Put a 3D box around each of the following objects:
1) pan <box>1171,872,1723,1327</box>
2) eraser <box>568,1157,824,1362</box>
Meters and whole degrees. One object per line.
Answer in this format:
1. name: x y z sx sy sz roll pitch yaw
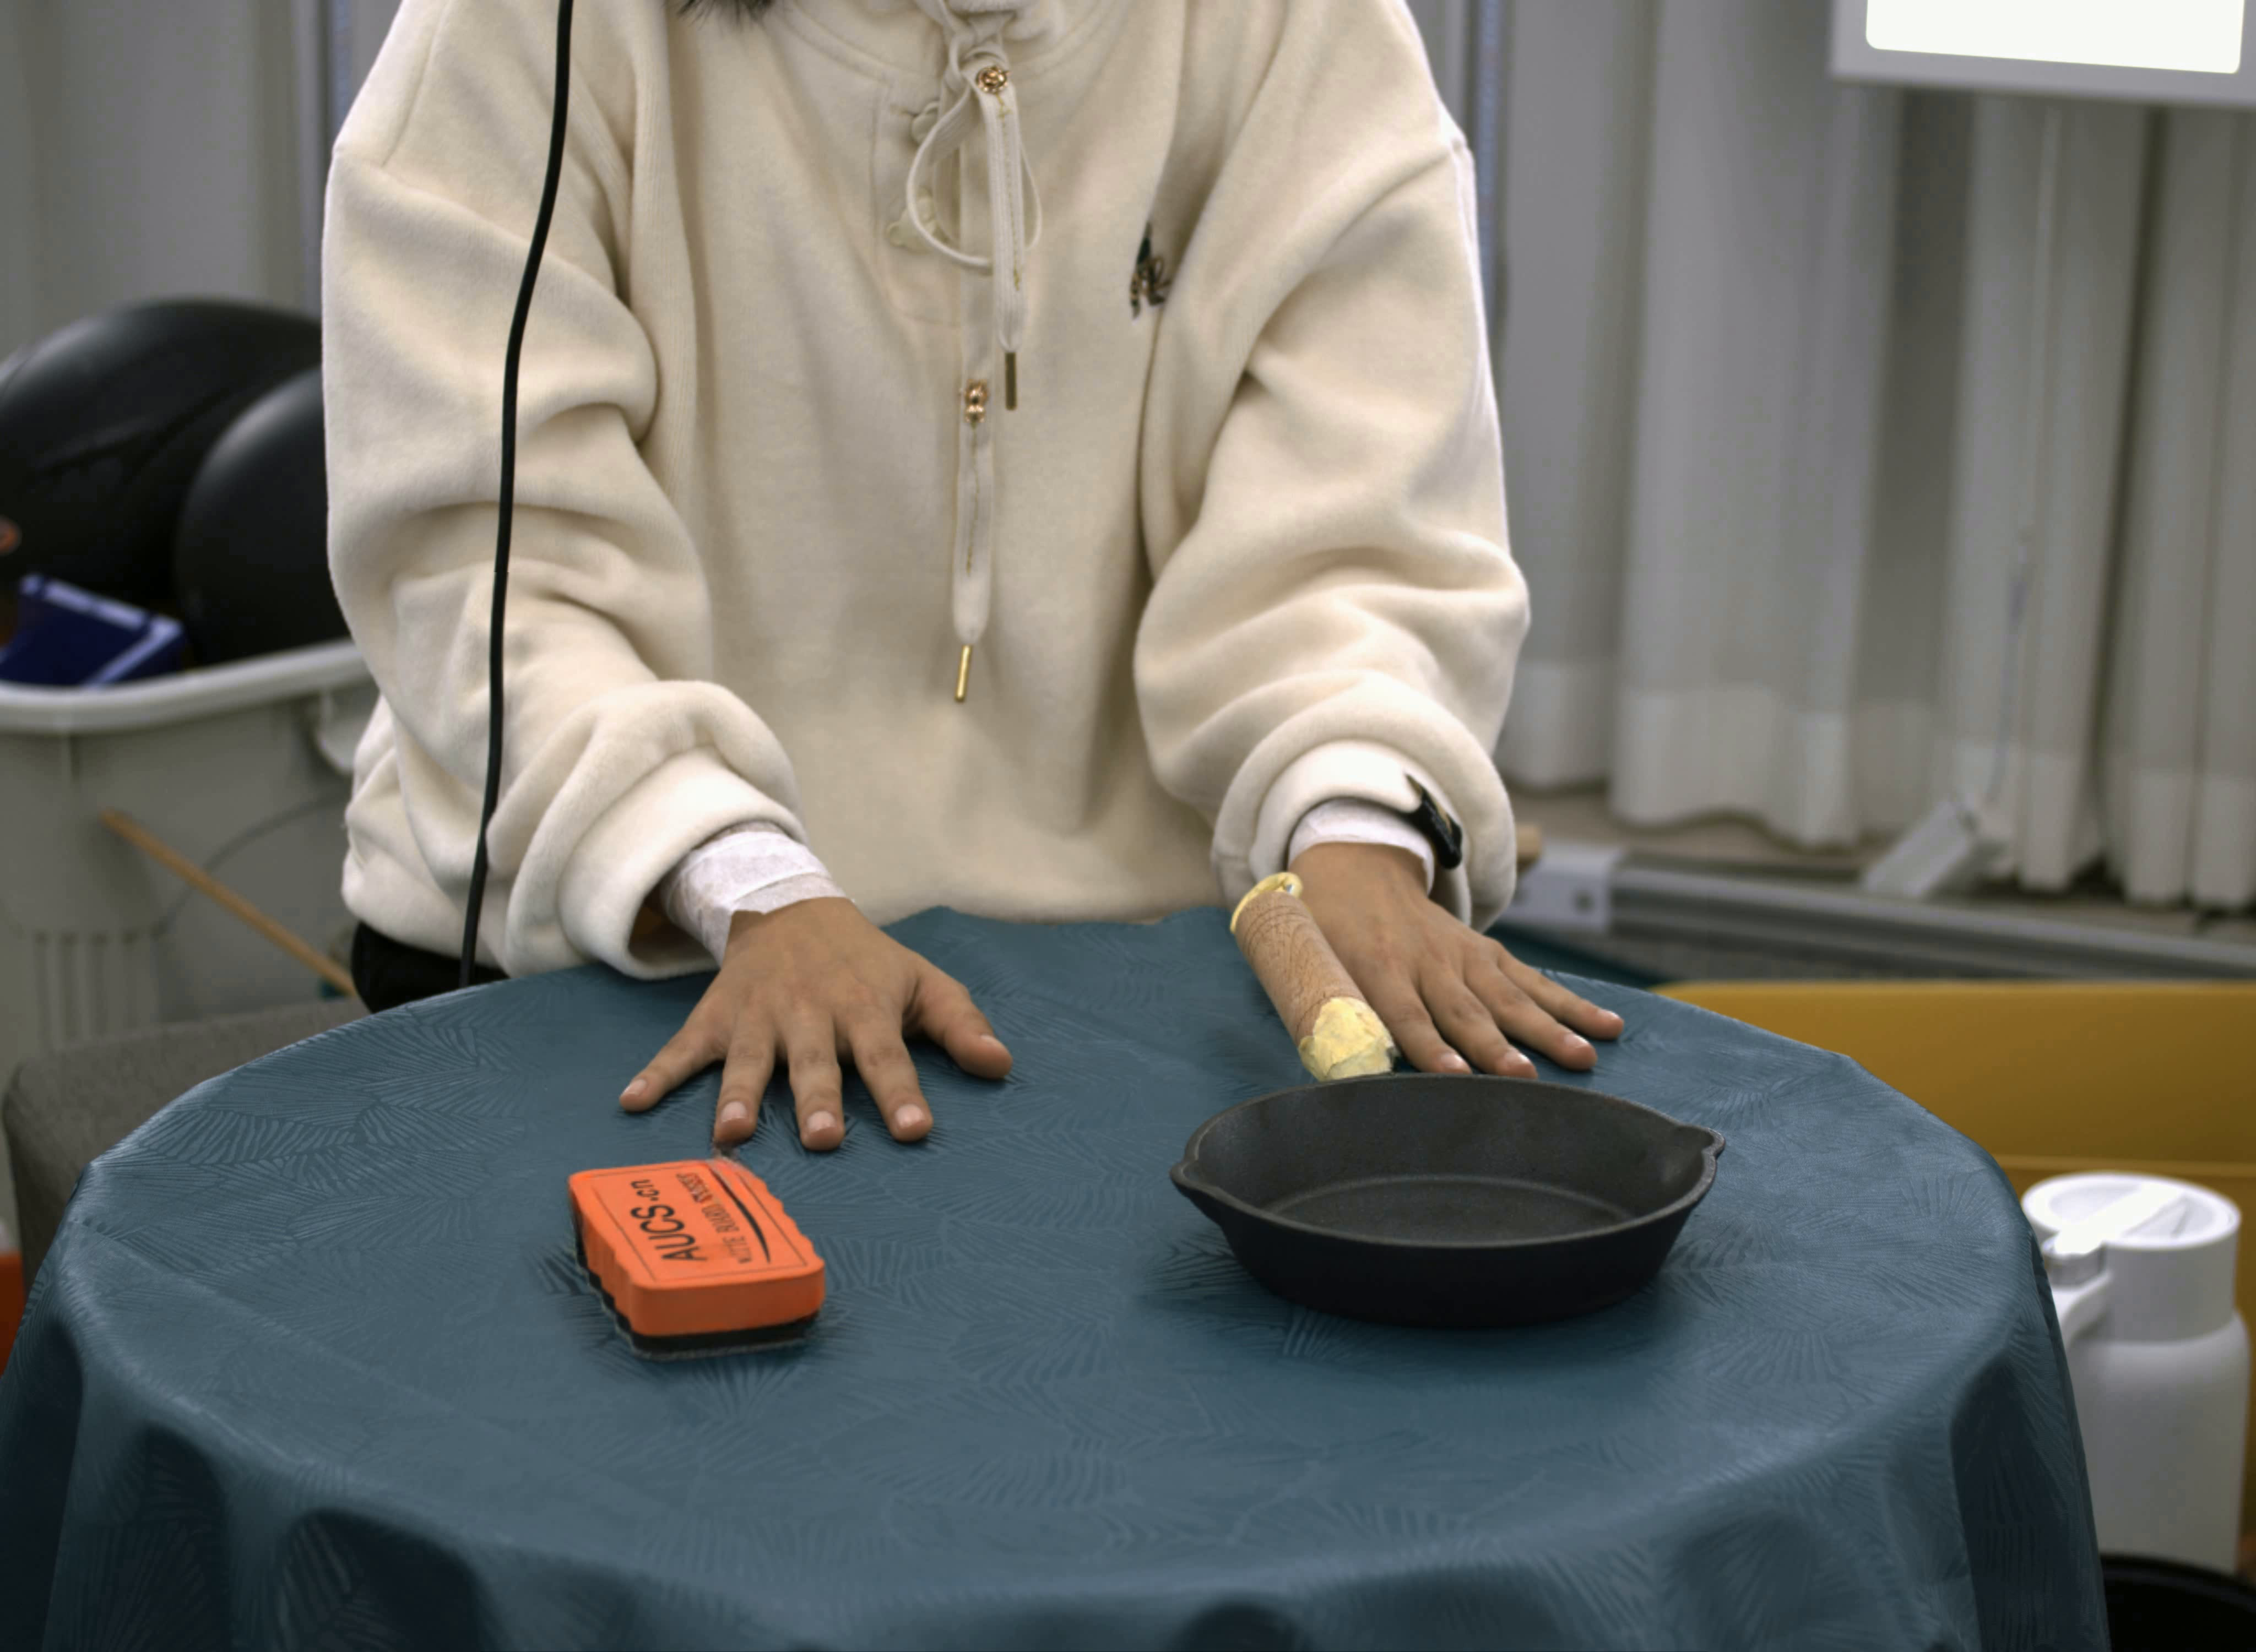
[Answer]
1. pan: 0.078 0.082 1.639 0.169 0.050 0.321 -3 17 -11
2. eraser: -0.127 0.125 1.528 0.059 0.023 0.107 -5 16 -16
